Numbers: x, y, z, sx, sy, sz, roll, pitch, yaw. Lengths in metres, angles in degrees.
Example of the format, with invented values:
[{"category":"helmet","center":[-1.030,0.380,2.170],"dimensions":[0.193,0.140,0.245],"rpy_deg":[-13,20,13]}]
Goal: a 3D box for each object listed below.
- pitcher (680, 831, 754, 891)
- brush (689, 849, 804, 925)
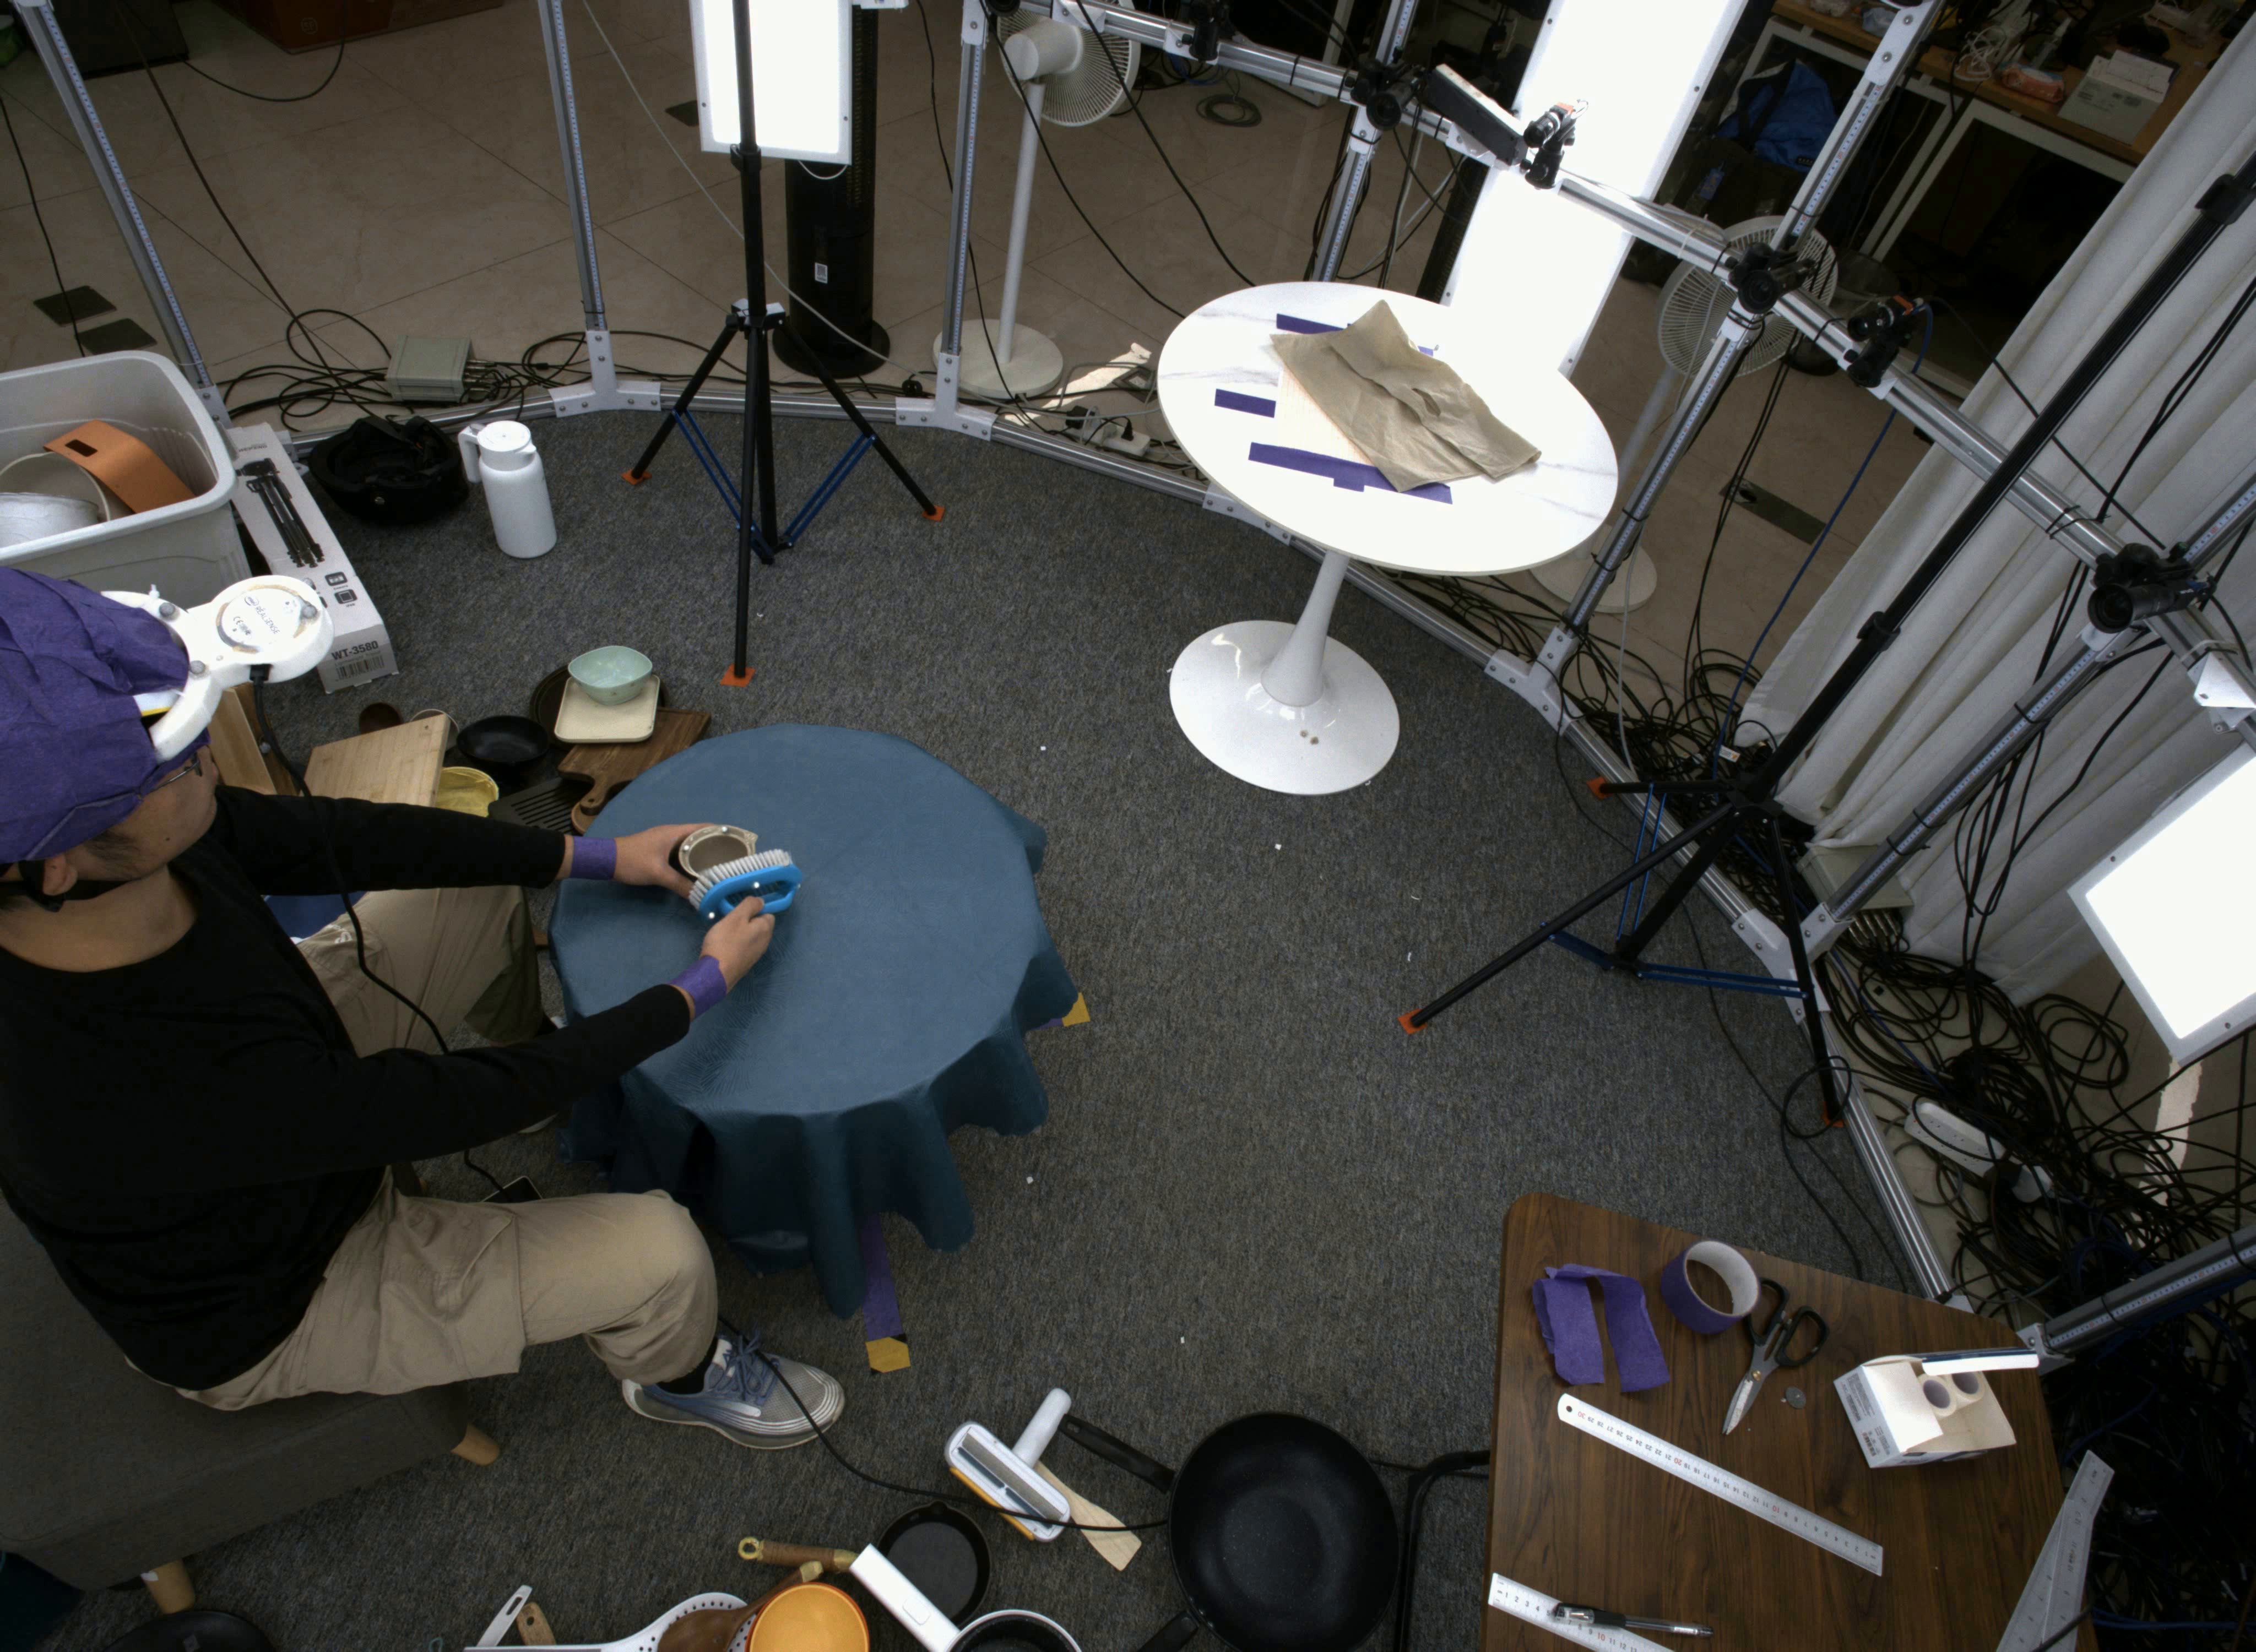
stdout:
[{"category":"pitcher","center":[-0.510,0.052,1.616],"dimensions":[0.096,0.073,0.081],"rpy_deg":[-22,52,-29]},{"category":"brush","center":[-0.457,0.083,1.574],"dimensions":[0.143,0.085,0.062],"rpy_deg":[-16,54,-42]}]
